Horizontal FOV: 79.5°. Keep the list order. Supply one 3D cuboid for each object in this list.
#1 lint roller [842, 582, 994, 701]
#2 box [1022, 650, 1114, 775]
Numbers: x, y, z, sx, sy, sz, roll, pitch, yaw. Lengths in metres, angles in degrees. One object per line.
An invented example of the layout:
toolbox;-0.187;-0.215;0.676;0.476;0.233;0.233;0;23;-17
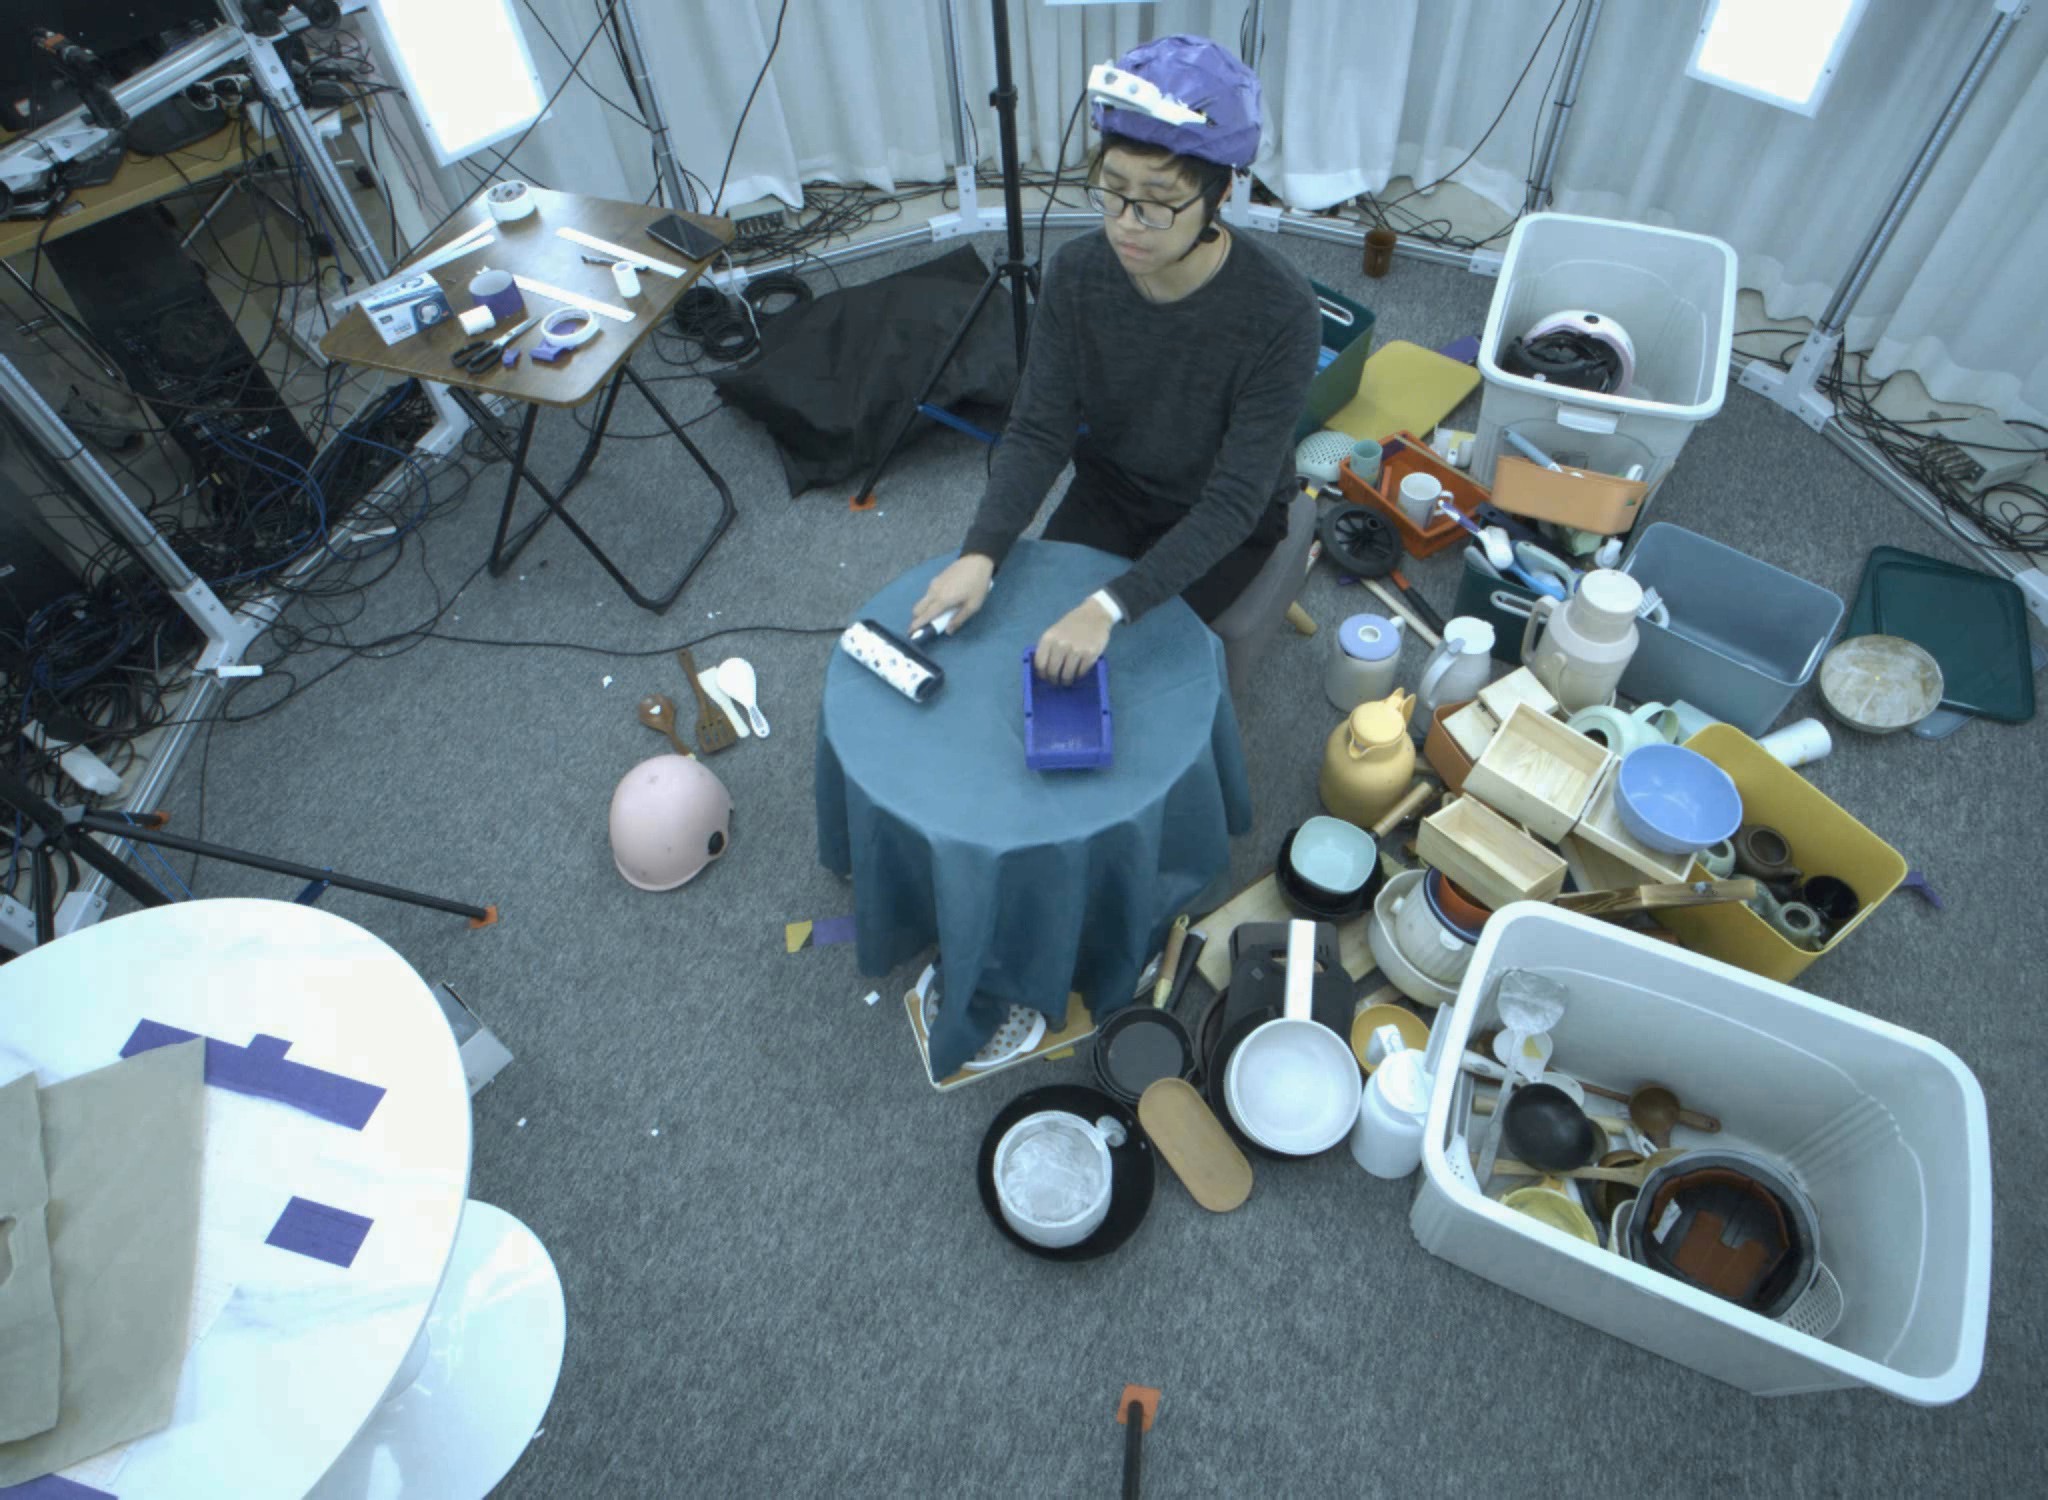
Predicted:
lint roller;-0.141;-0.194;1.900;0.173;0.051;0.248;36;64;25
box;0.063;-0.049;1.766;0.124;0.083;0.177;-2;50;-1
